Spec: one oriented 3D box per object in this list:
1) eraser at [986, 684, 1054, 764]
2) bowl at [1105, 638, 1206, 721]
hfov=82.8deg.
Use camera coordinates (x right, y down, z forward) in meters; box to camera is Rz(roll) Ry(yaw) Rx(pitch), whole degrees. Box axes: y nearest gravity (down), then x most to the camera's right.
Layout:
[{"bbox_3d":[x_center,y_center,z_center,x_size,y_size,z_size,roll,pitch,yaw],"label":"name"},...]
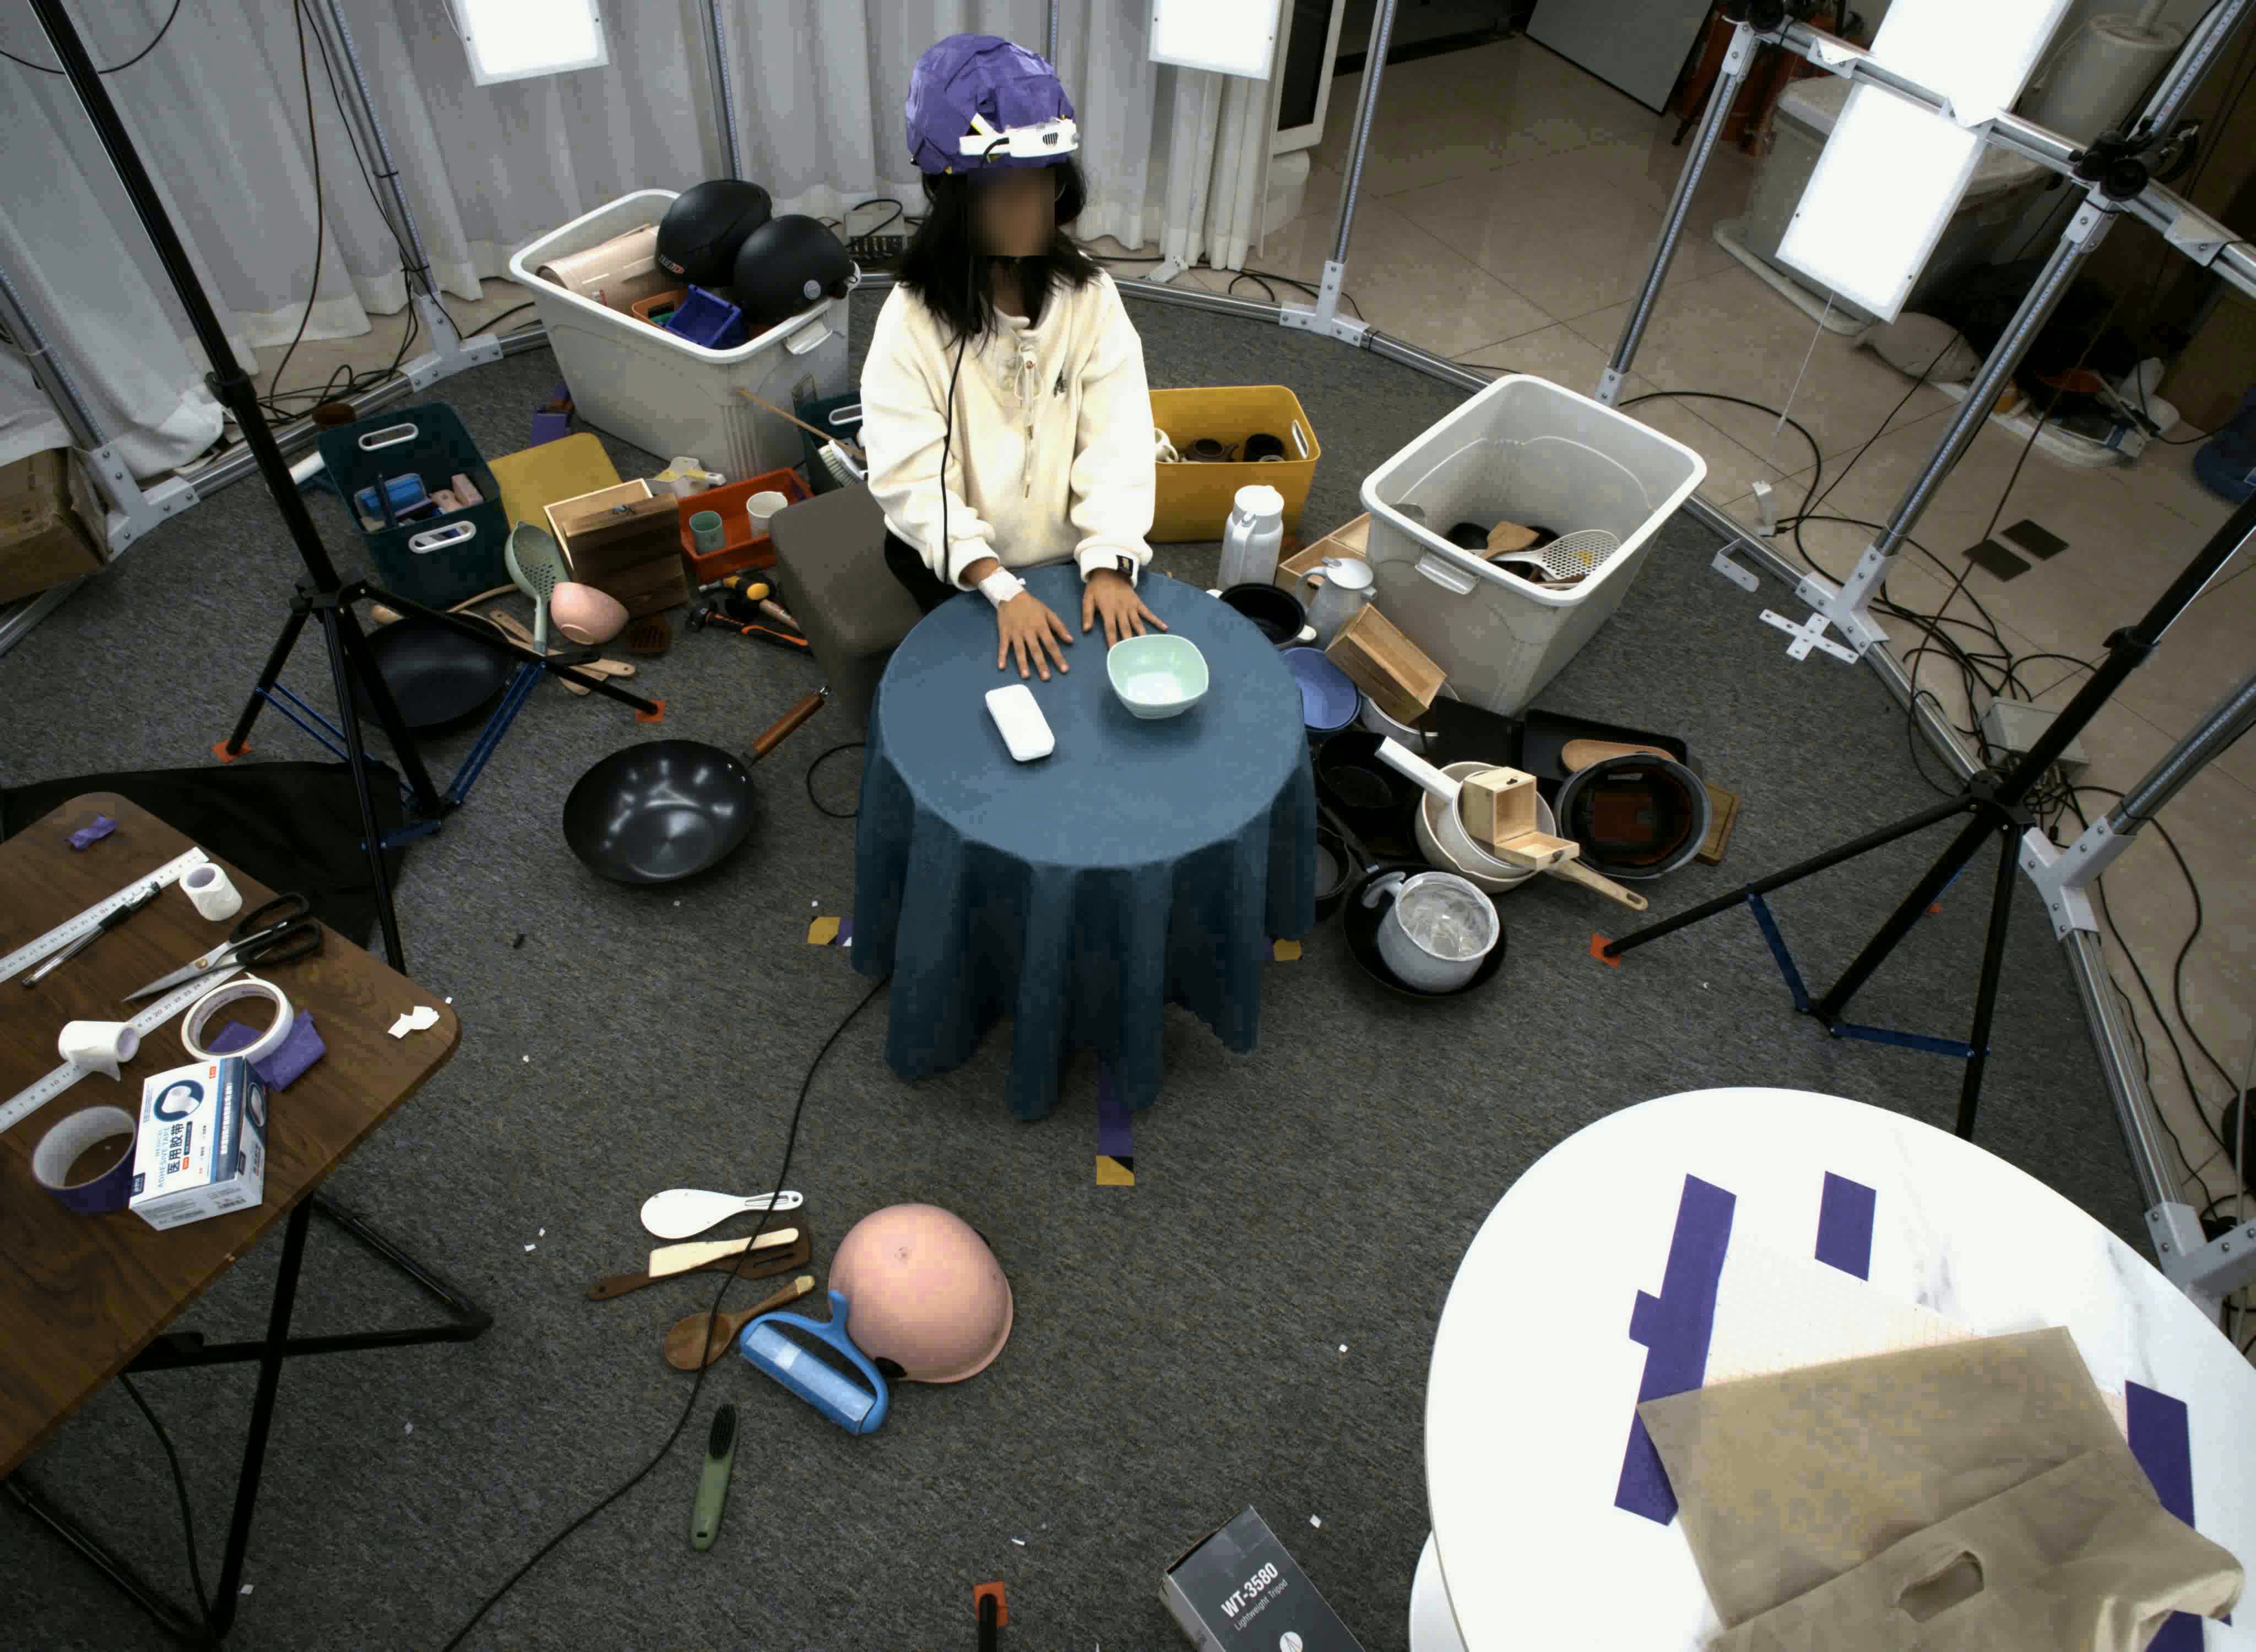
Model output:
[{"bbox_3d":[-0.148,-0.143,1.765,0.063,0.034,0.134,-15,52,-16],"label":"eraser"},{"bbox_3d":[0.037,-0.199,1.813,0.151,0.057,0.155,2,47,-3],"label":"bowl"}]
